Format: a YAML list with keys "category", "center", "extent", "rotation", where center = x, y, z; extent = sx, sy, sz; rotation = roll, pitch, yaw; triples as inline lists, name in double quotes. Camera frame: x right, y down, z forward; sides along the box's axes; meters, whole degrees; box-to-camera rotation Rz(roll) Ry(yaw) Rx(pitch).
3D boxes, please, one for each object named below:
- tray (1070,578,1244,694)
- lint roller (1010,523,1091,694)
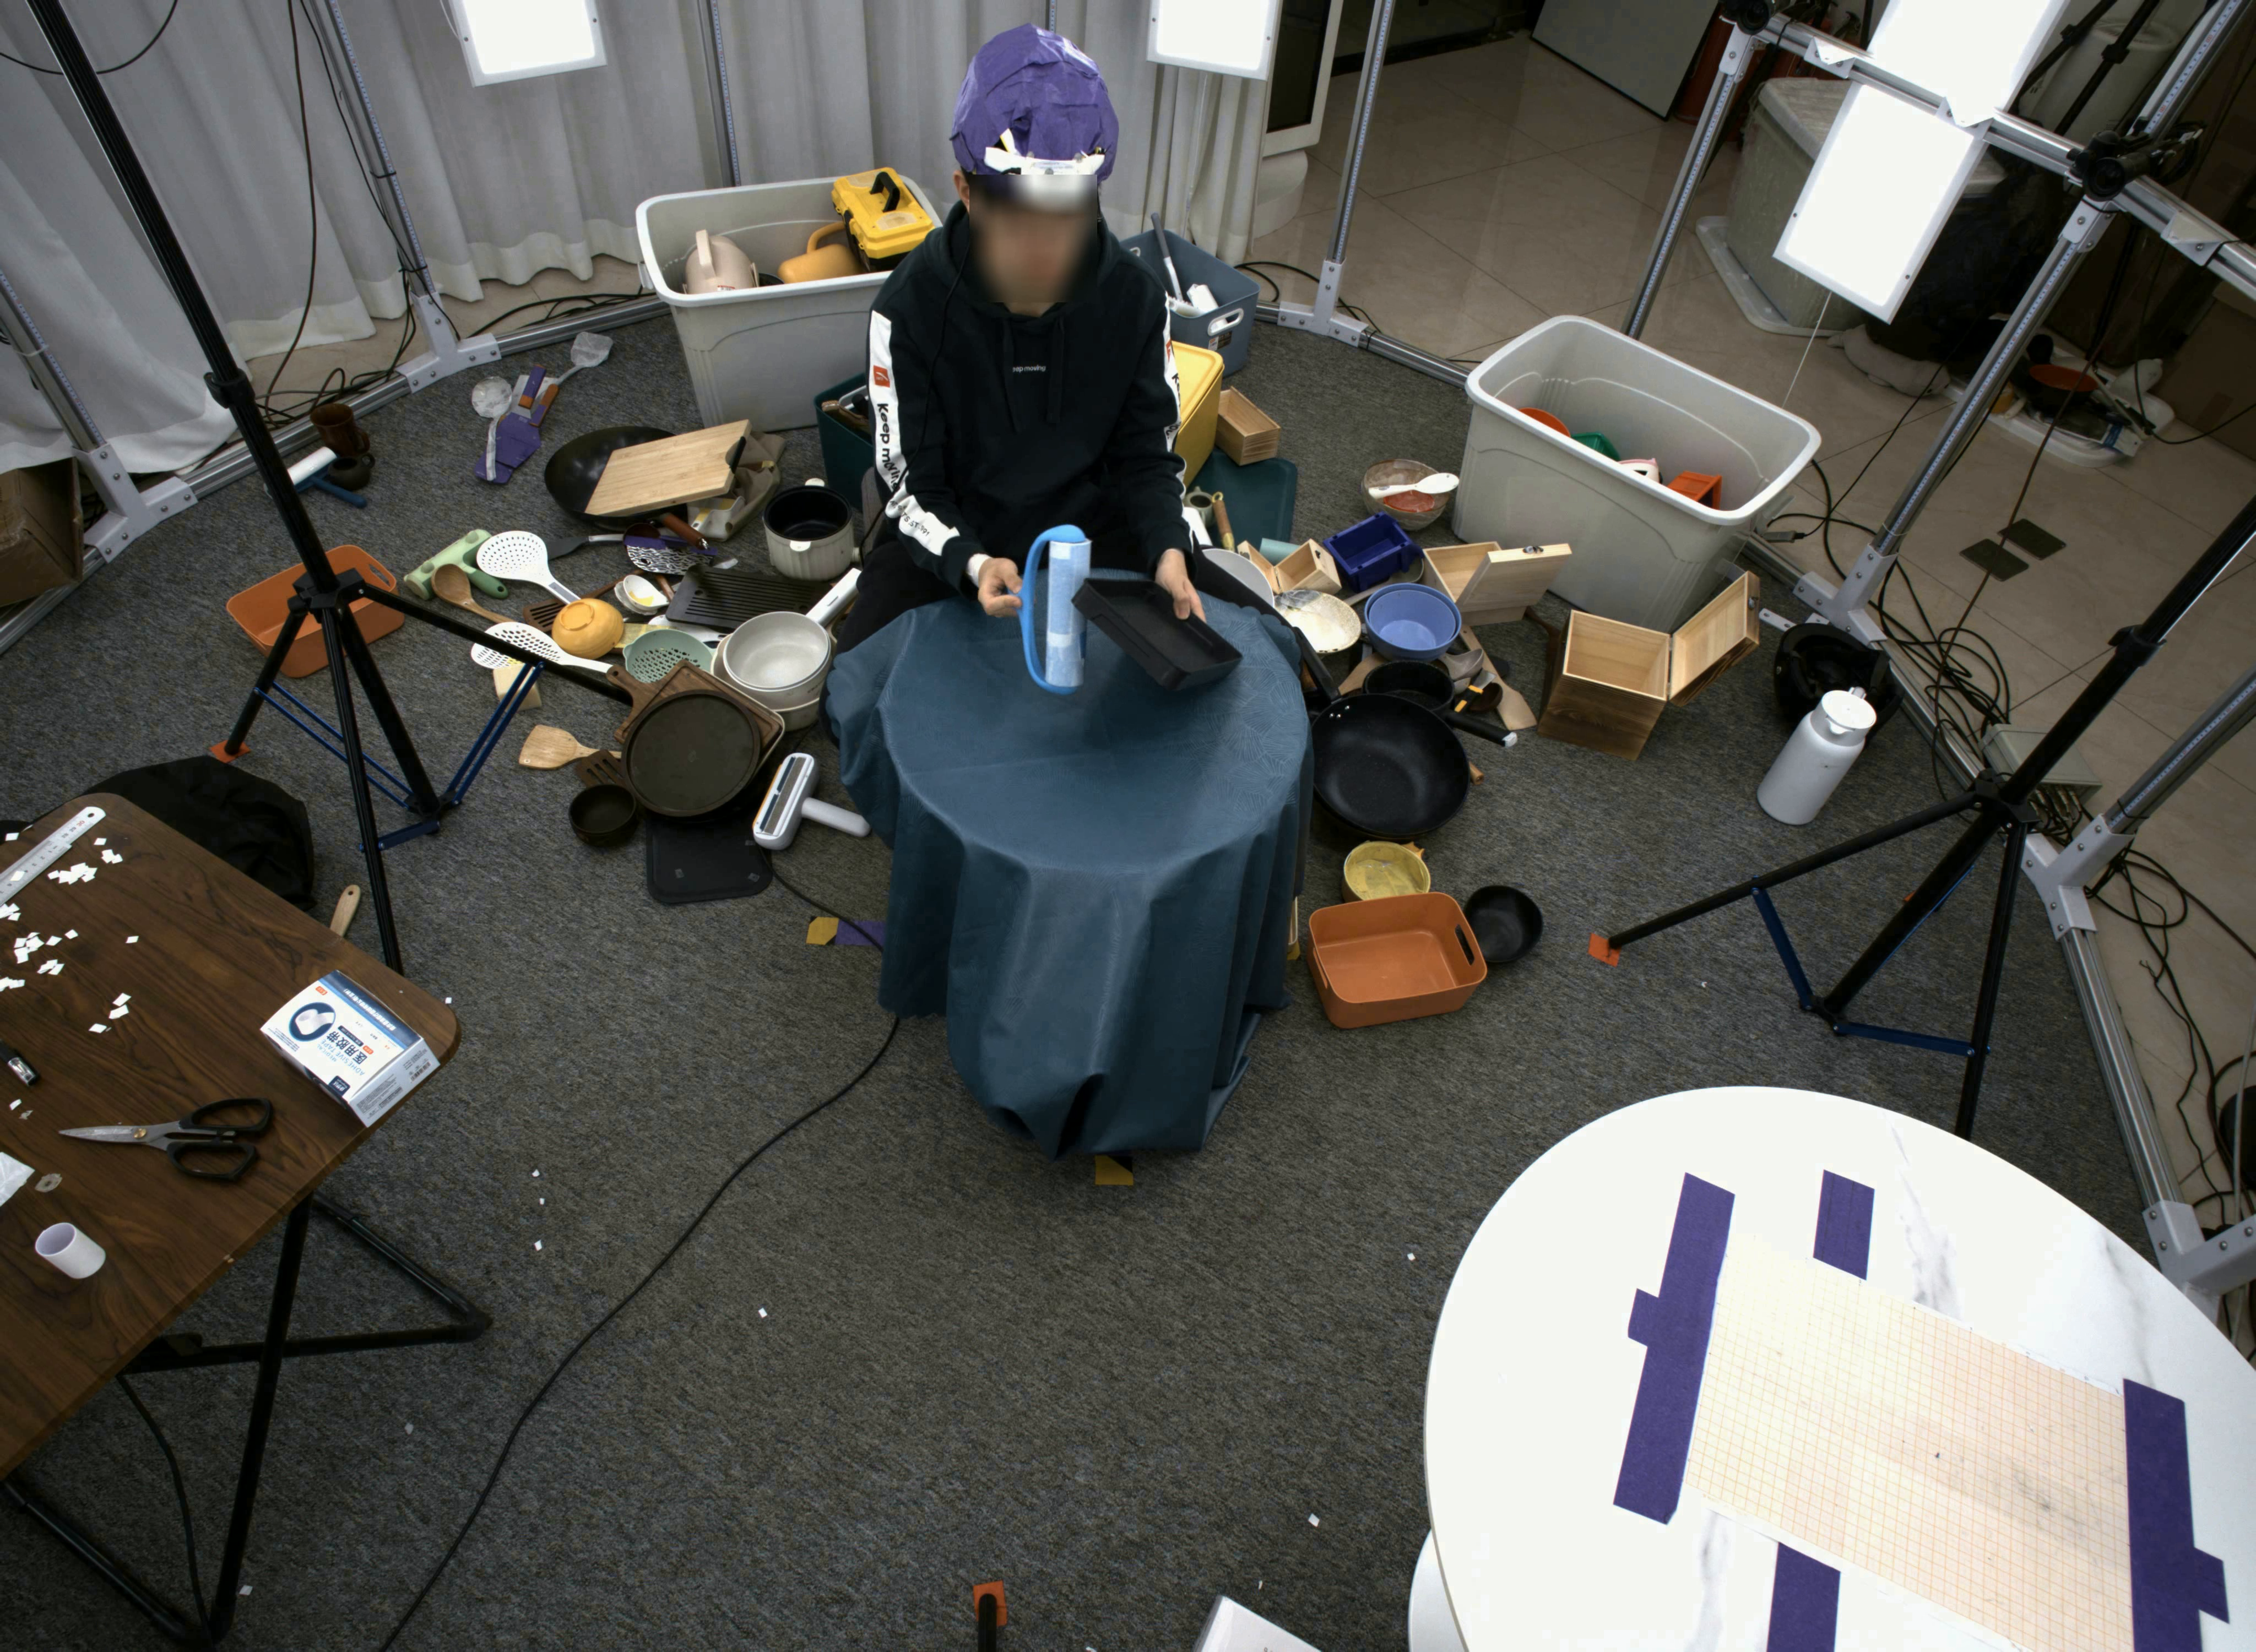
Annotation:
- category: "tray"
  center: [0.046, -0.264, 1.744]
  extent: [0.185, 0.036, 0.320]
  rotation: [40, 21, 7]
- category: "lint roller"
  center: [-0.119, -0.302, 1.742]
  extent: [0.068, 0.225, 0.182]
  rotation: [-18, 27, -39]
